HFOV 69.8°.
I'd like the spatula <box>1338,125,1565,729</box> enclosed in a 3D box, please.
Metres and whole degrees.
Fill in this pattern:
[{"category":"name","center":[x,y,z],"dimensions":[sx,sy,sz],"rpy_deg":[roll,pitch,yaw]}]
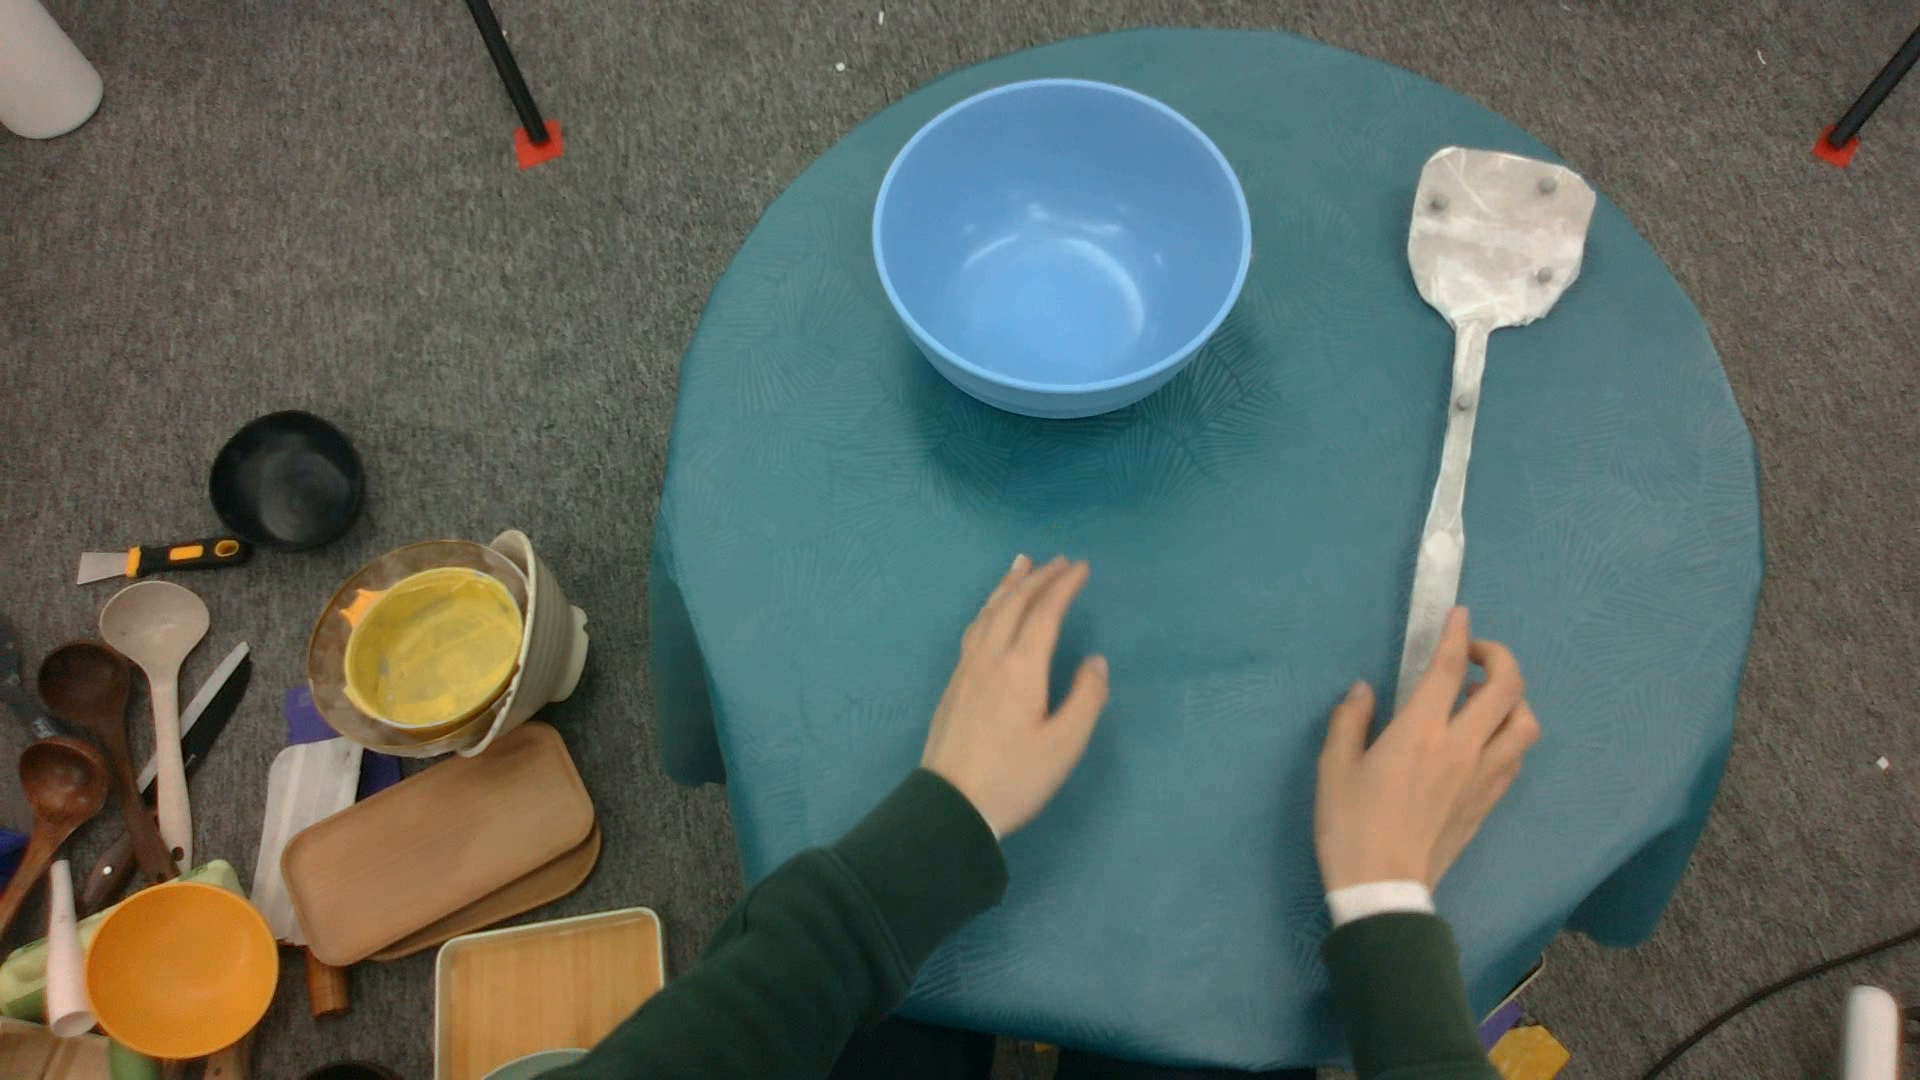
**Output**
[{"category":"spatula","center":[0.255,-0.069,0.748],"dimensions":[0.098,0.044,0.366],"rpy_deg":[16,67,5]}]

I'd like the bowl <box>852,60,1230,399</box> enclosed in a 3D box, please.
[{"category":"bowl","center":[0.042,-0.154,0.756],"dimensions":[0.196,0.095,0.197],"rpy_deg":[1,67,-1]}]
